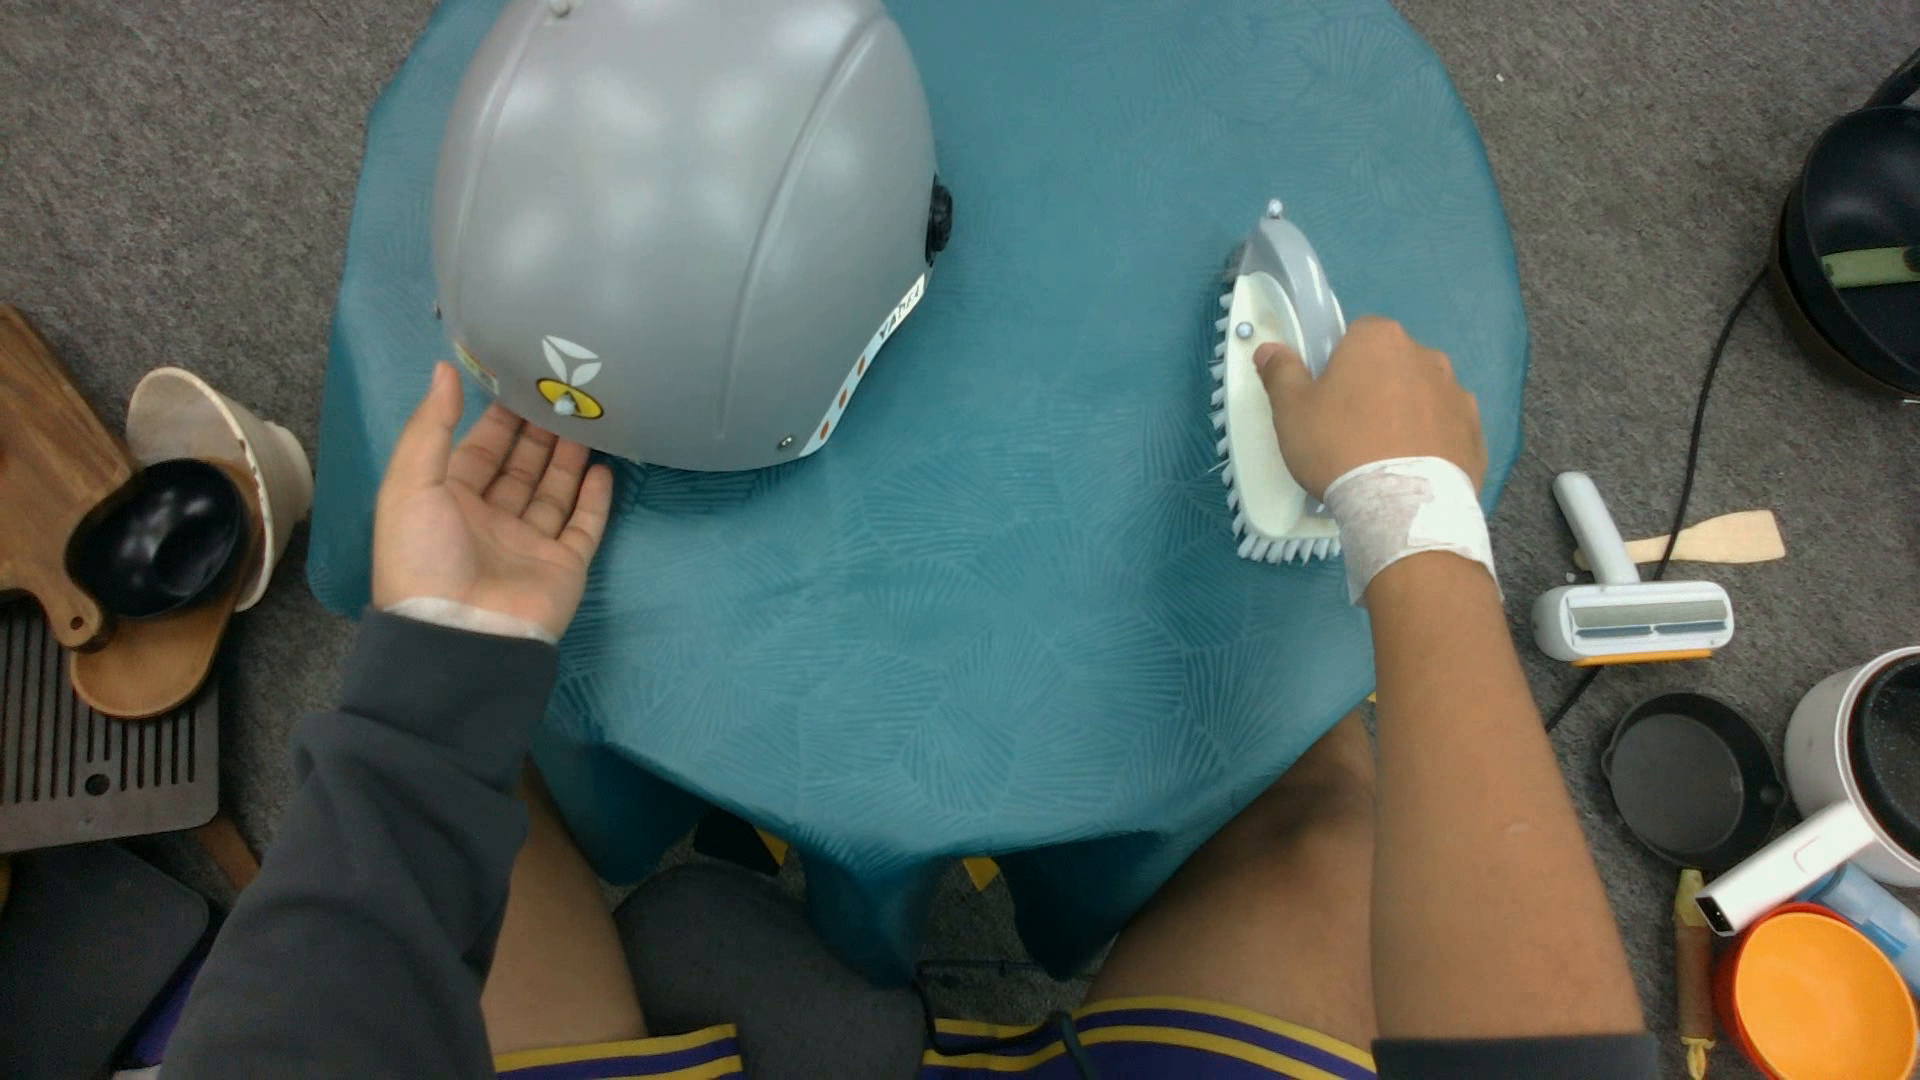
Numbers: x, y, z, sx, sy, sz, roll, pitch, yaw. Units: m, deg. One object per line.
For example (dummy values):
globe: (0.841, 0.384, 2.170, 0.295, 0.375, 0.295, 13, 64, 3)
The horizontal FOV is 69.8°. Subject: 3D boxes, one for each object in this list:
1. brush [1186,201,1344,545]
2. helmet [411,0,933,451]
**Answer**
brush: (0.146, -0.093, 0.654, 0.061, 0.094, 0.176, -1, 69, -9)
helmet: (-0.126, -0.184, 0.614, 0.232, 0.168, 0.277, 21, 70, -2)
